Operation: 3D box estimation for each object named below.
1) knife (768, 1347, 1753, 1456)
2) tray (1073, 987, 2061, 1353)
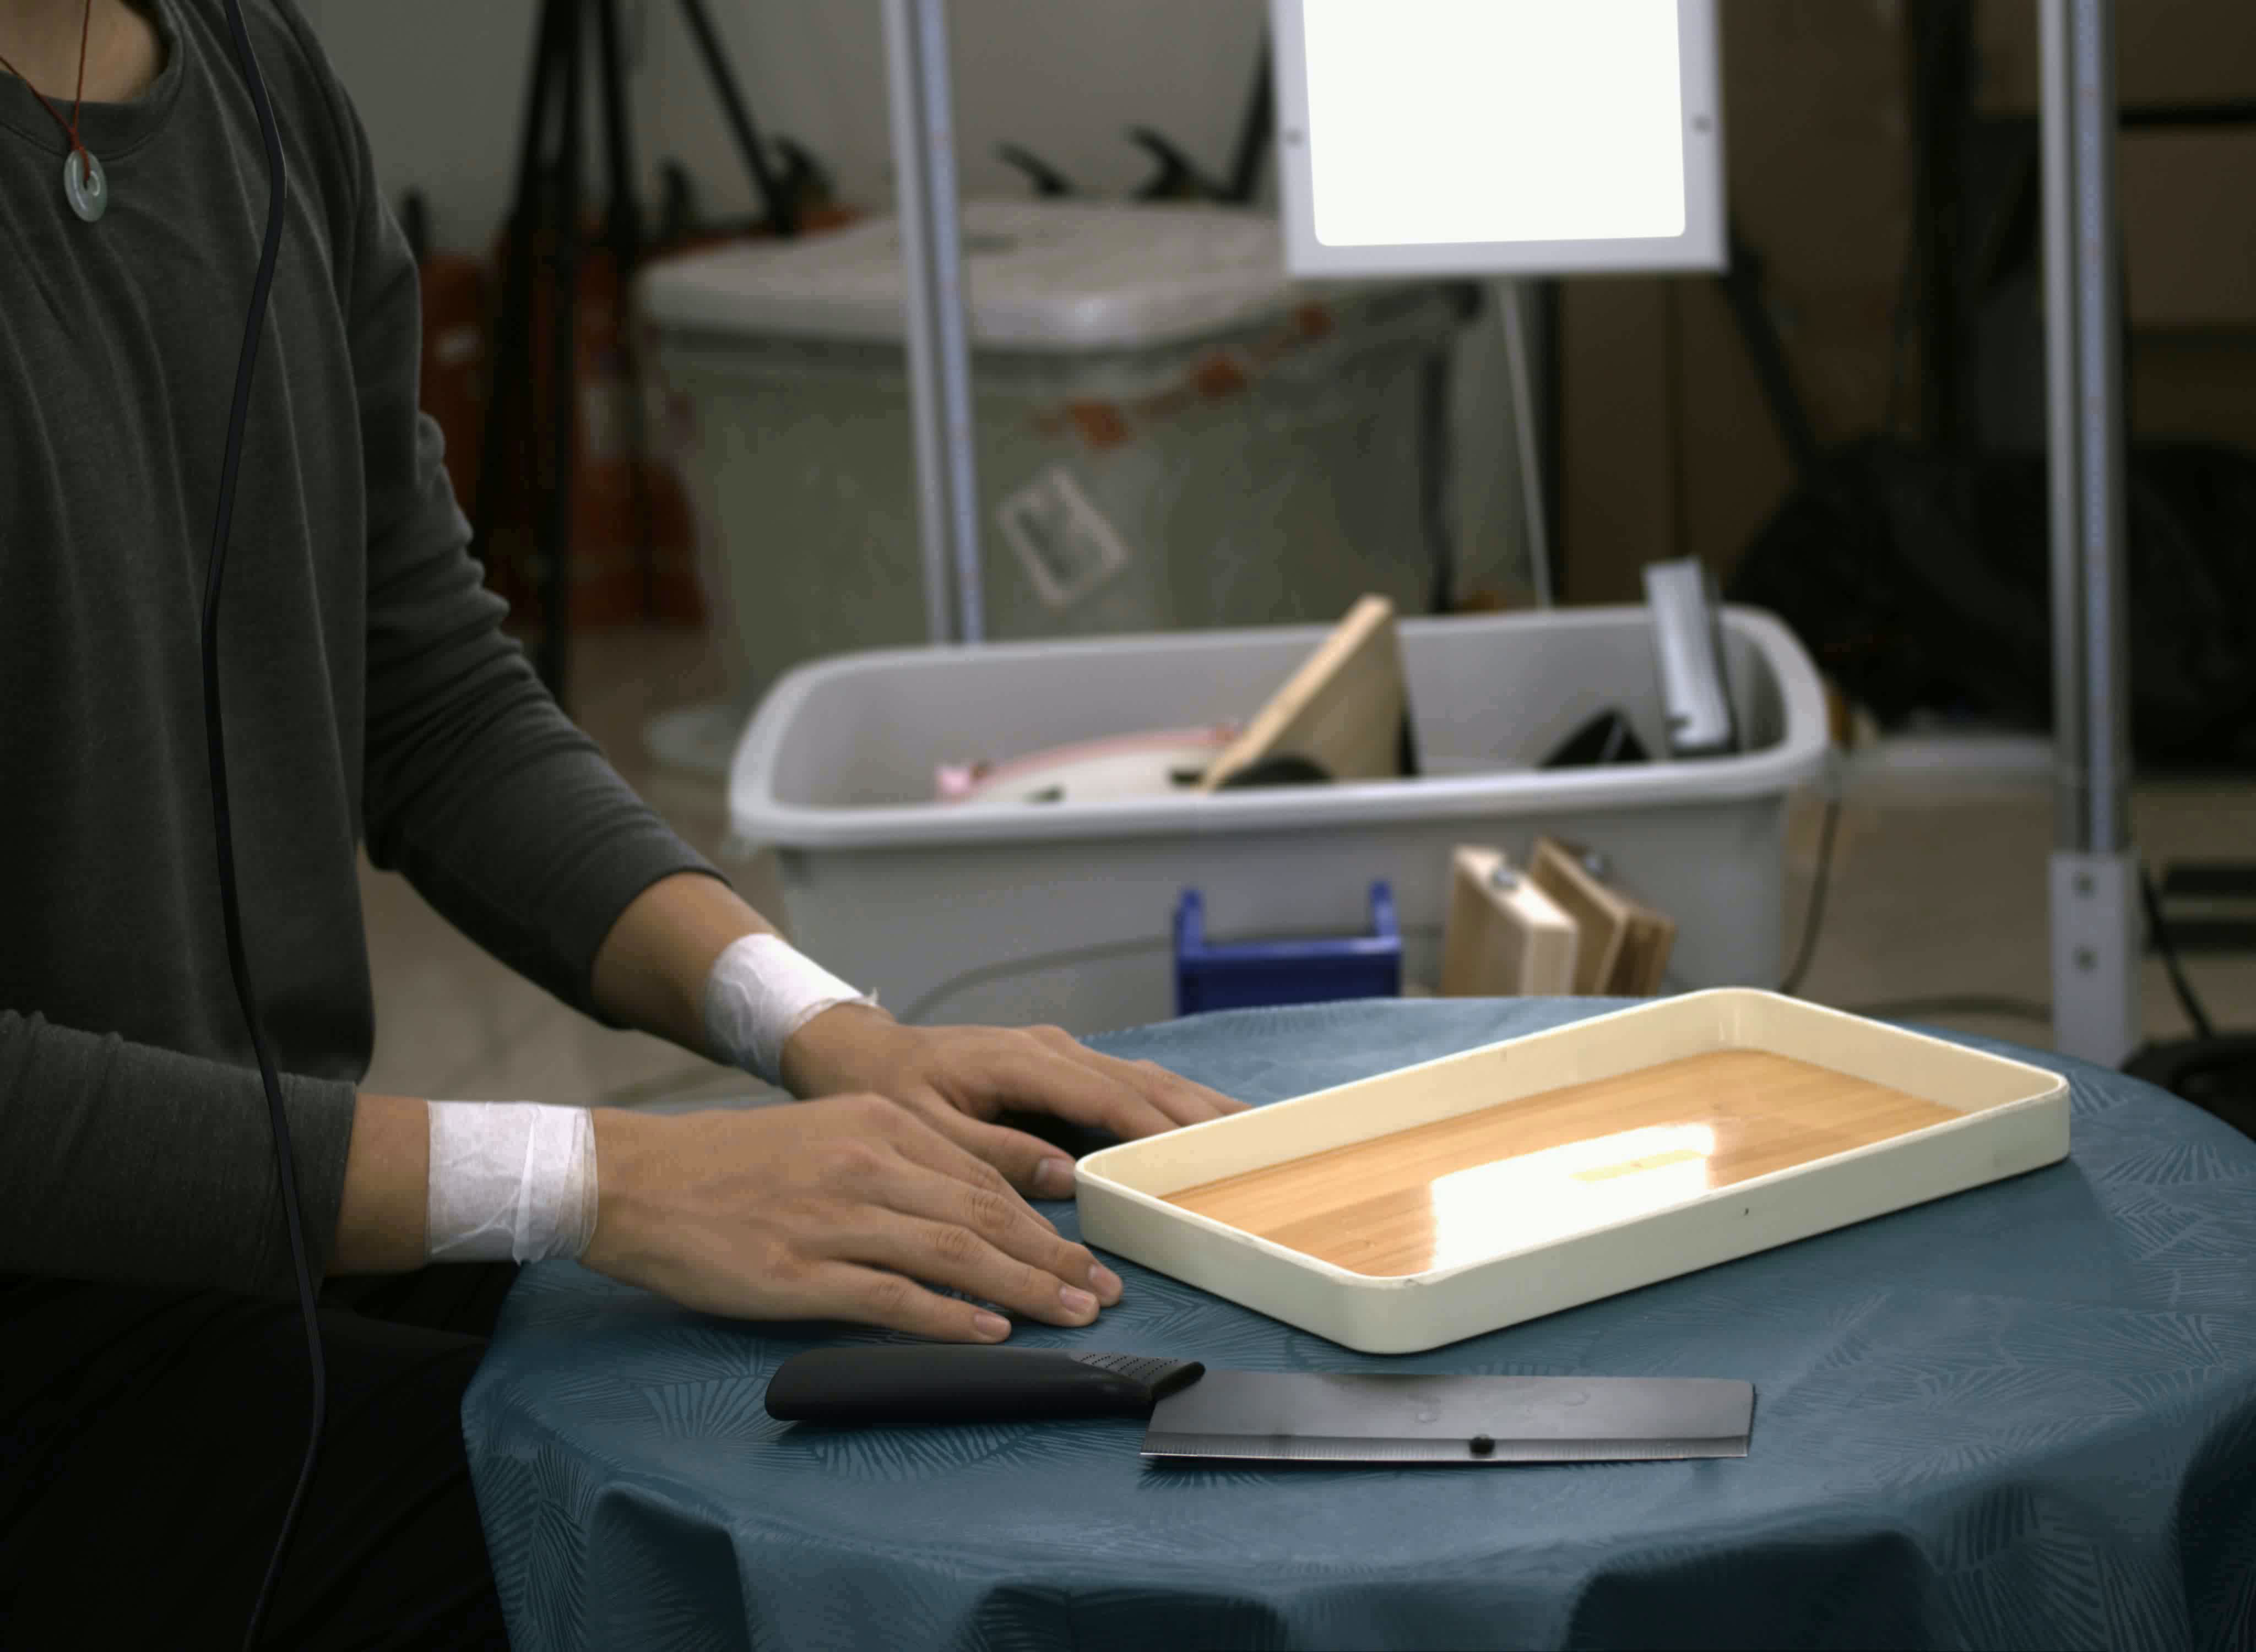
[{"bbox_3d":[0.039,0.175,1.660,0.305,0.021,0.080,0,16,15],"label":"knife"},{"bbox_3d":[0.151,0.112,1.852,0.293,0.027,0.195,-13,16,-30],"label":"tray"}]
